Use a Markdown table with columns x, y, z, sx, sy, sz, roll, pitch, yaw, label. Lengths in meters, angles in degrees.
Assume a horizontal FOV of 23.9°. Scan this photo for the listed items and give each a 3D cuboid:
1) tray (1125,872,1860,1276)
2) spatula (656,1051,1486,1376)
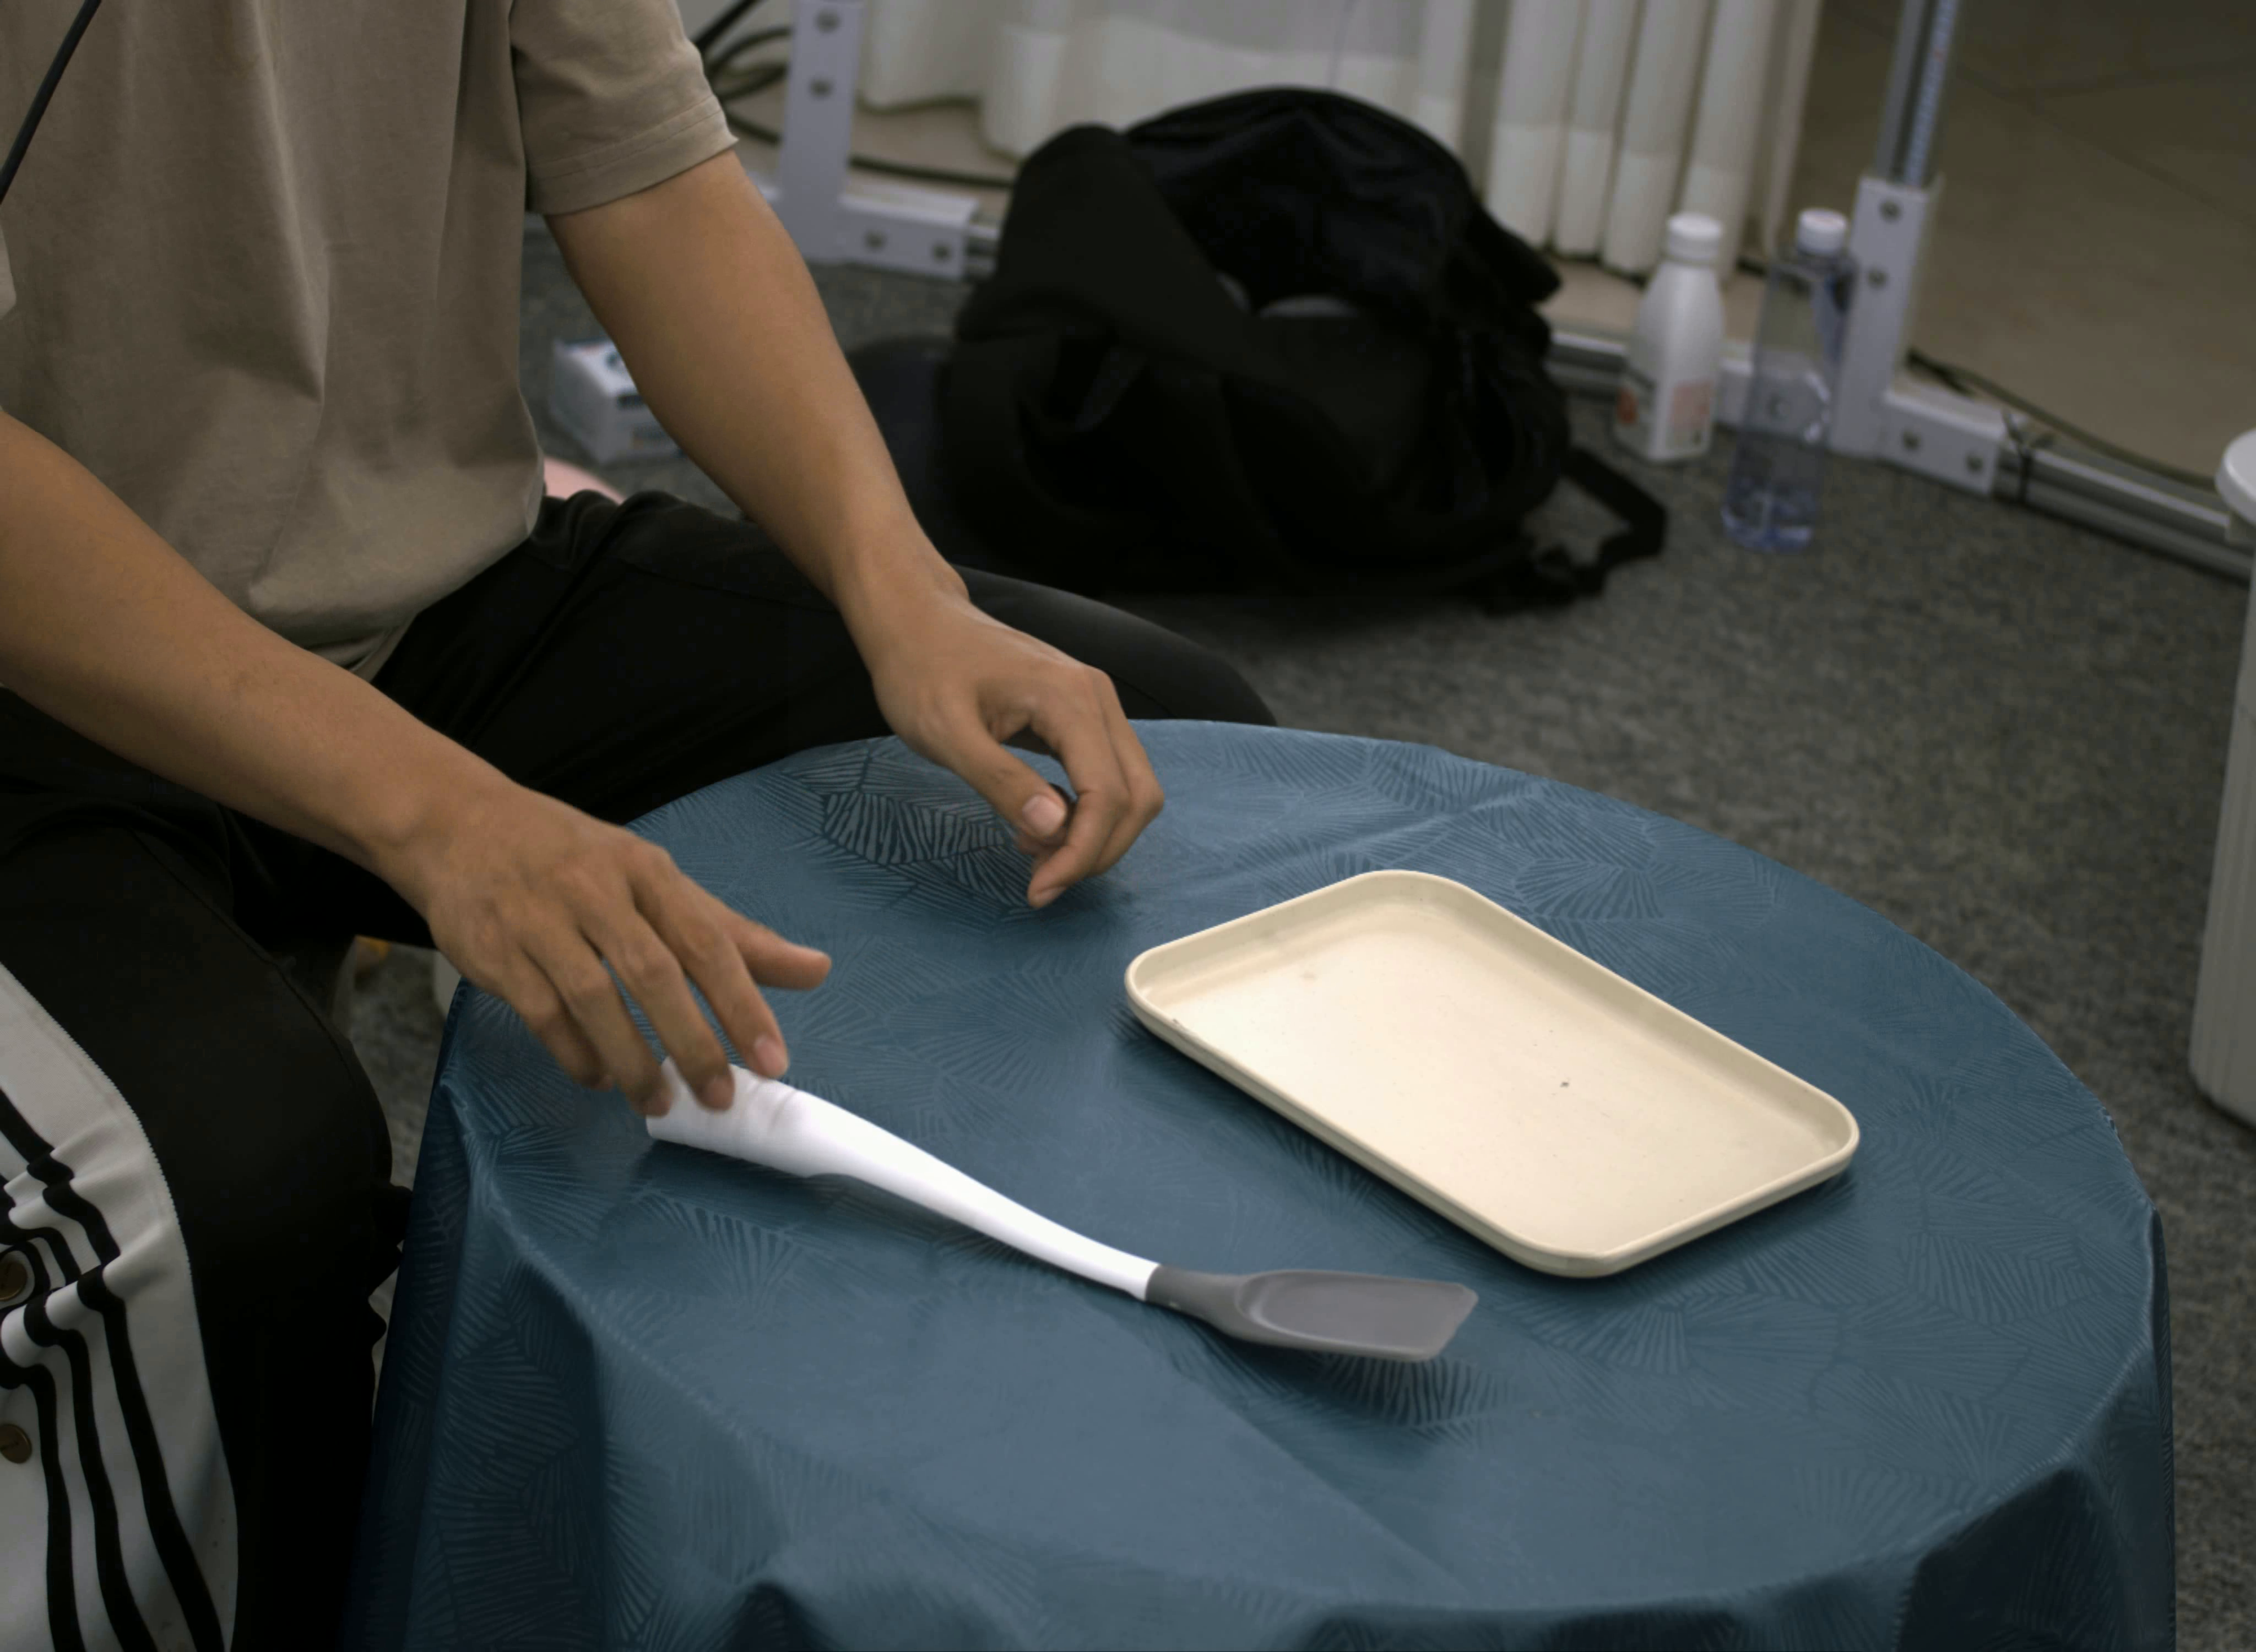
| x | y | z | sx | sy | sz | roll | pitch | yaw | label |
| --- | --- | --- | --- | --- | --- | --- | --- | --- | --- |
| 0.127 | 0.087 | 1.888 | 0.170 | 0.017 | 0.241 | -17 | 36 | -40 | tray |
| -0.022 | 0.131 | 1.748 | 0.288 | 0.032 | 0.058 | 17 | 25 | 18 | spatula |
